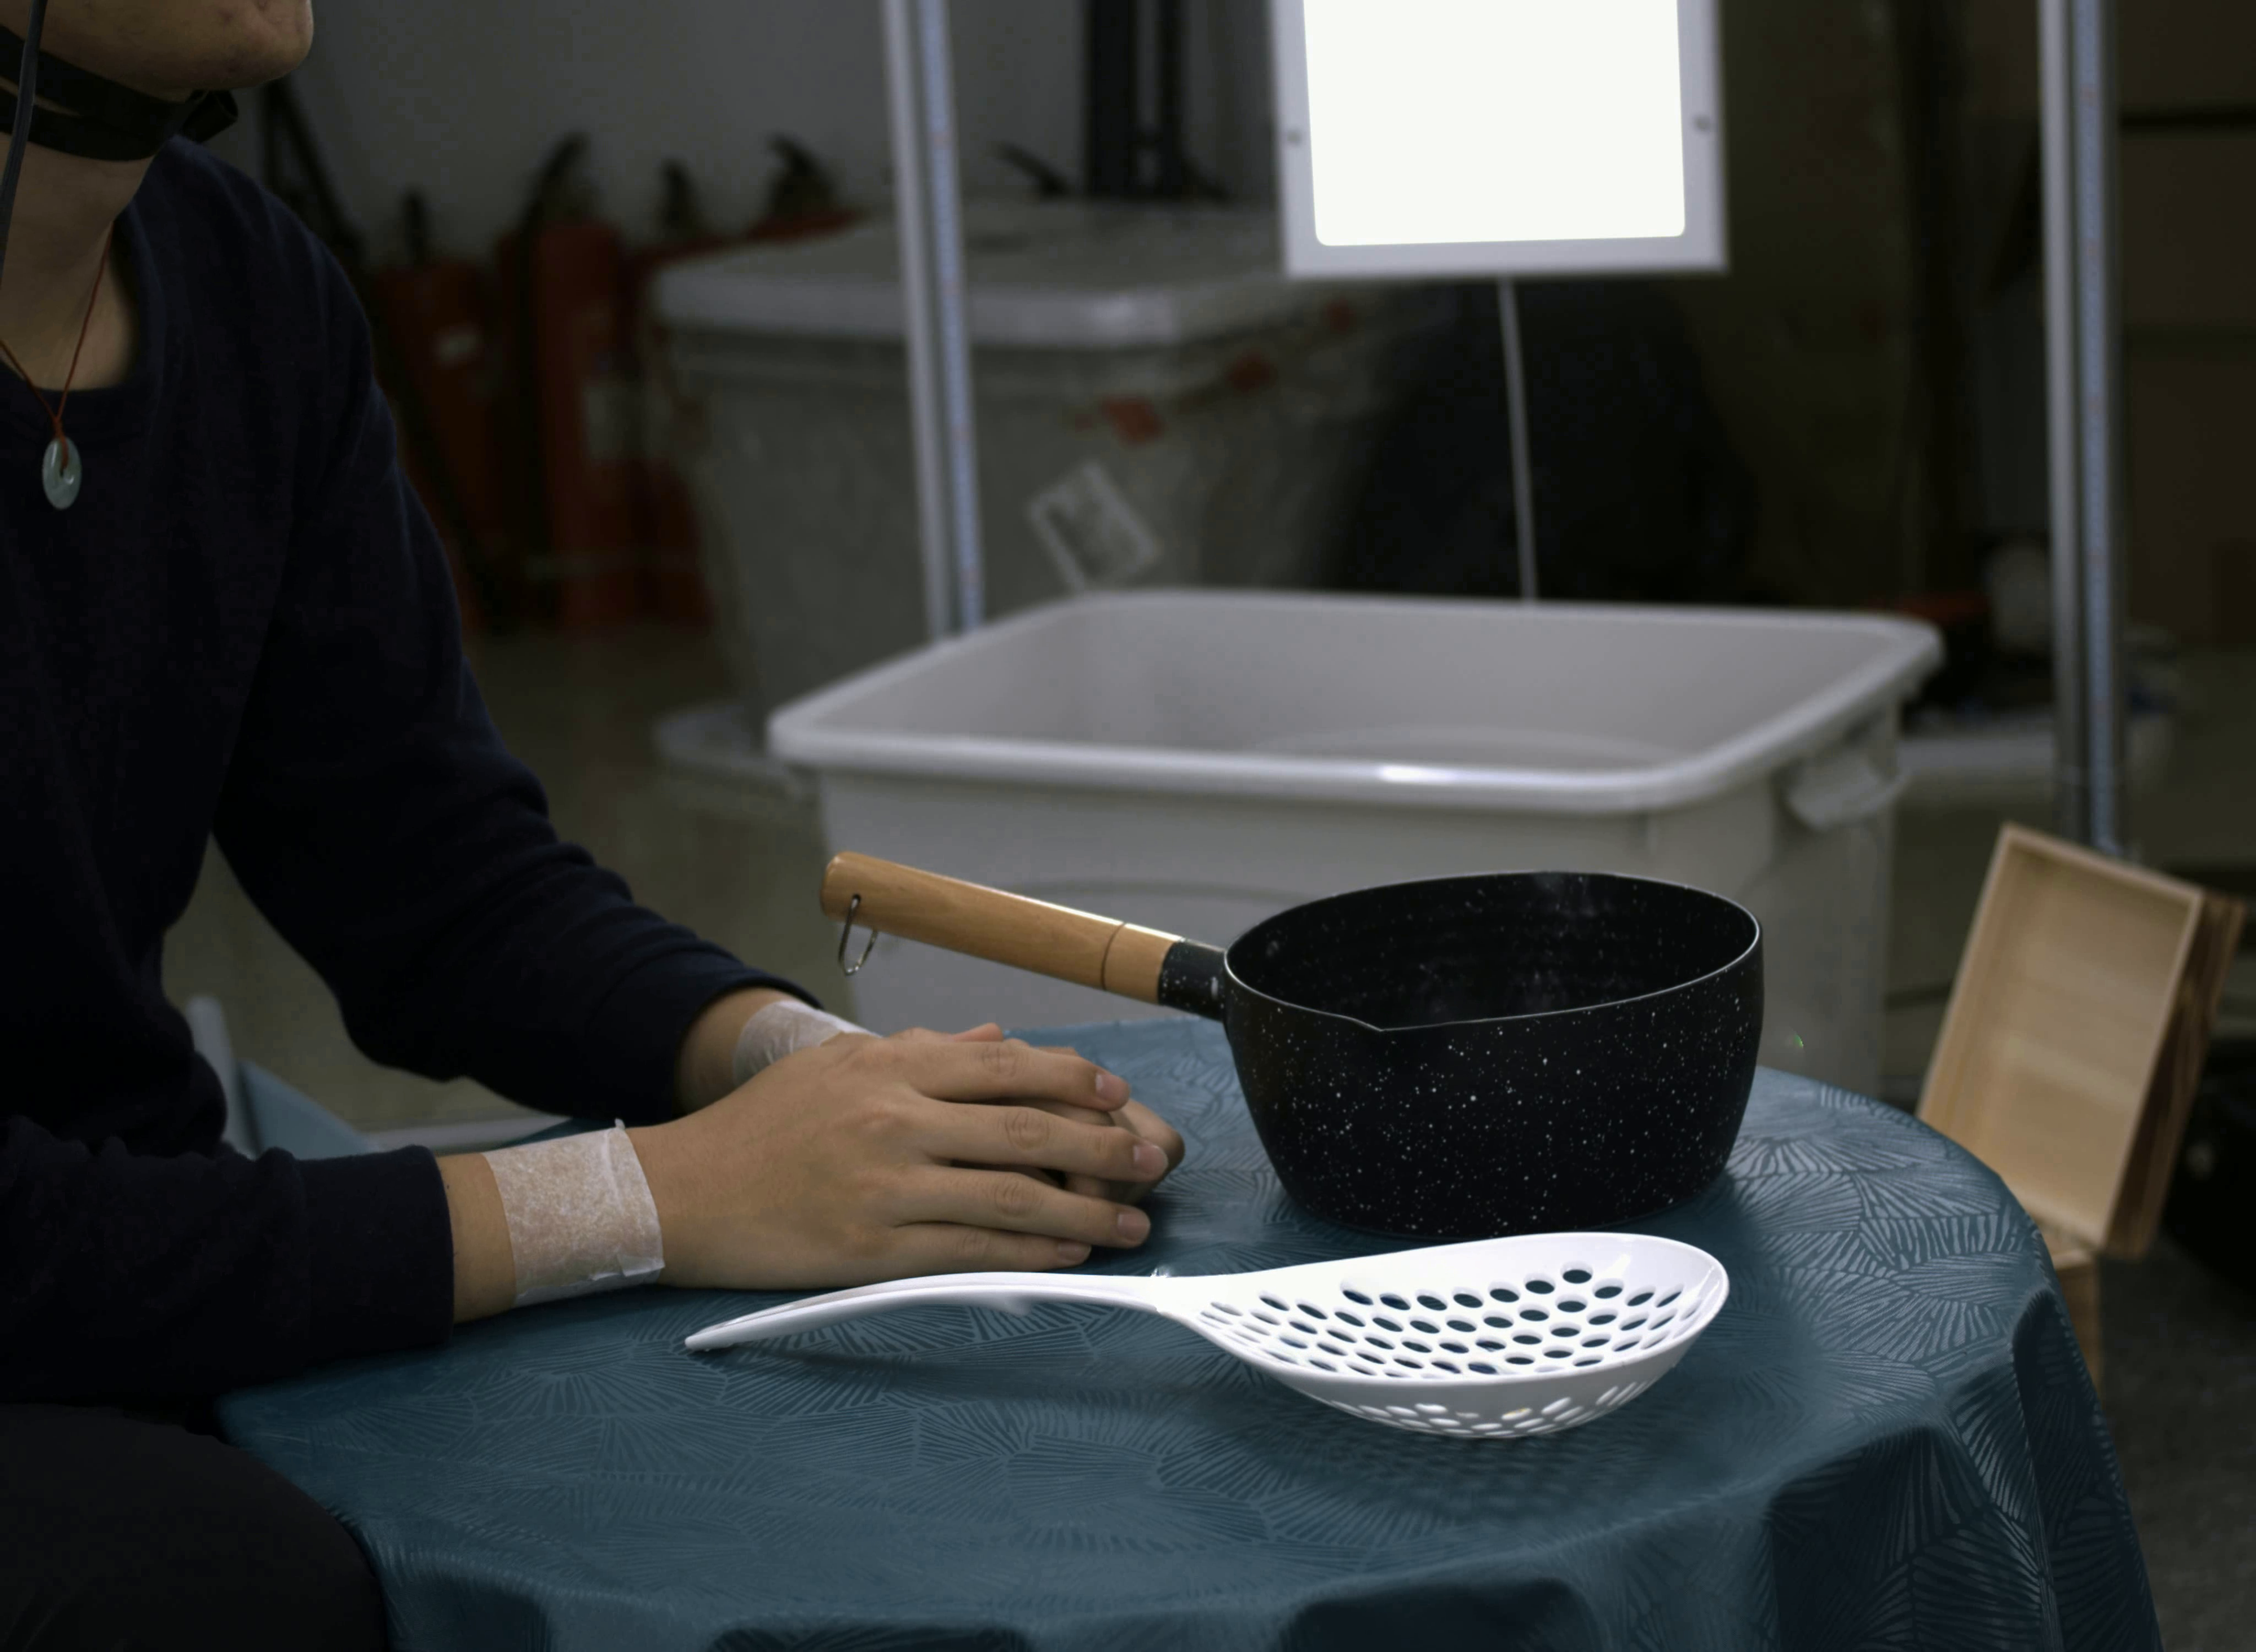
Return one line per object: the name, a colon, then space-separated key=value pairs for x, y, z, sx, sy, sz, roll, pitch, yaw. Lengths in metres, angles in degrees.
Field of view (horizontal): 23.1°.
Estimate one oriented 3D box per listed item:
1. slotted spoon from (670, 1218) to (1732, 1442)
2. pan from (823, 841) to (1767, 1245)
slotted spoon: x=0.015 y=0.154 z=1.690 sx=0.353 sy=0.050 sz=0.134 roll=4 pitch=17 yaw=26
pan: x=0.052 y=0.066 z=1.898 sx=0.348 sy=0.108 sz=0.203 roll=2 pitch=17 yaw=23
